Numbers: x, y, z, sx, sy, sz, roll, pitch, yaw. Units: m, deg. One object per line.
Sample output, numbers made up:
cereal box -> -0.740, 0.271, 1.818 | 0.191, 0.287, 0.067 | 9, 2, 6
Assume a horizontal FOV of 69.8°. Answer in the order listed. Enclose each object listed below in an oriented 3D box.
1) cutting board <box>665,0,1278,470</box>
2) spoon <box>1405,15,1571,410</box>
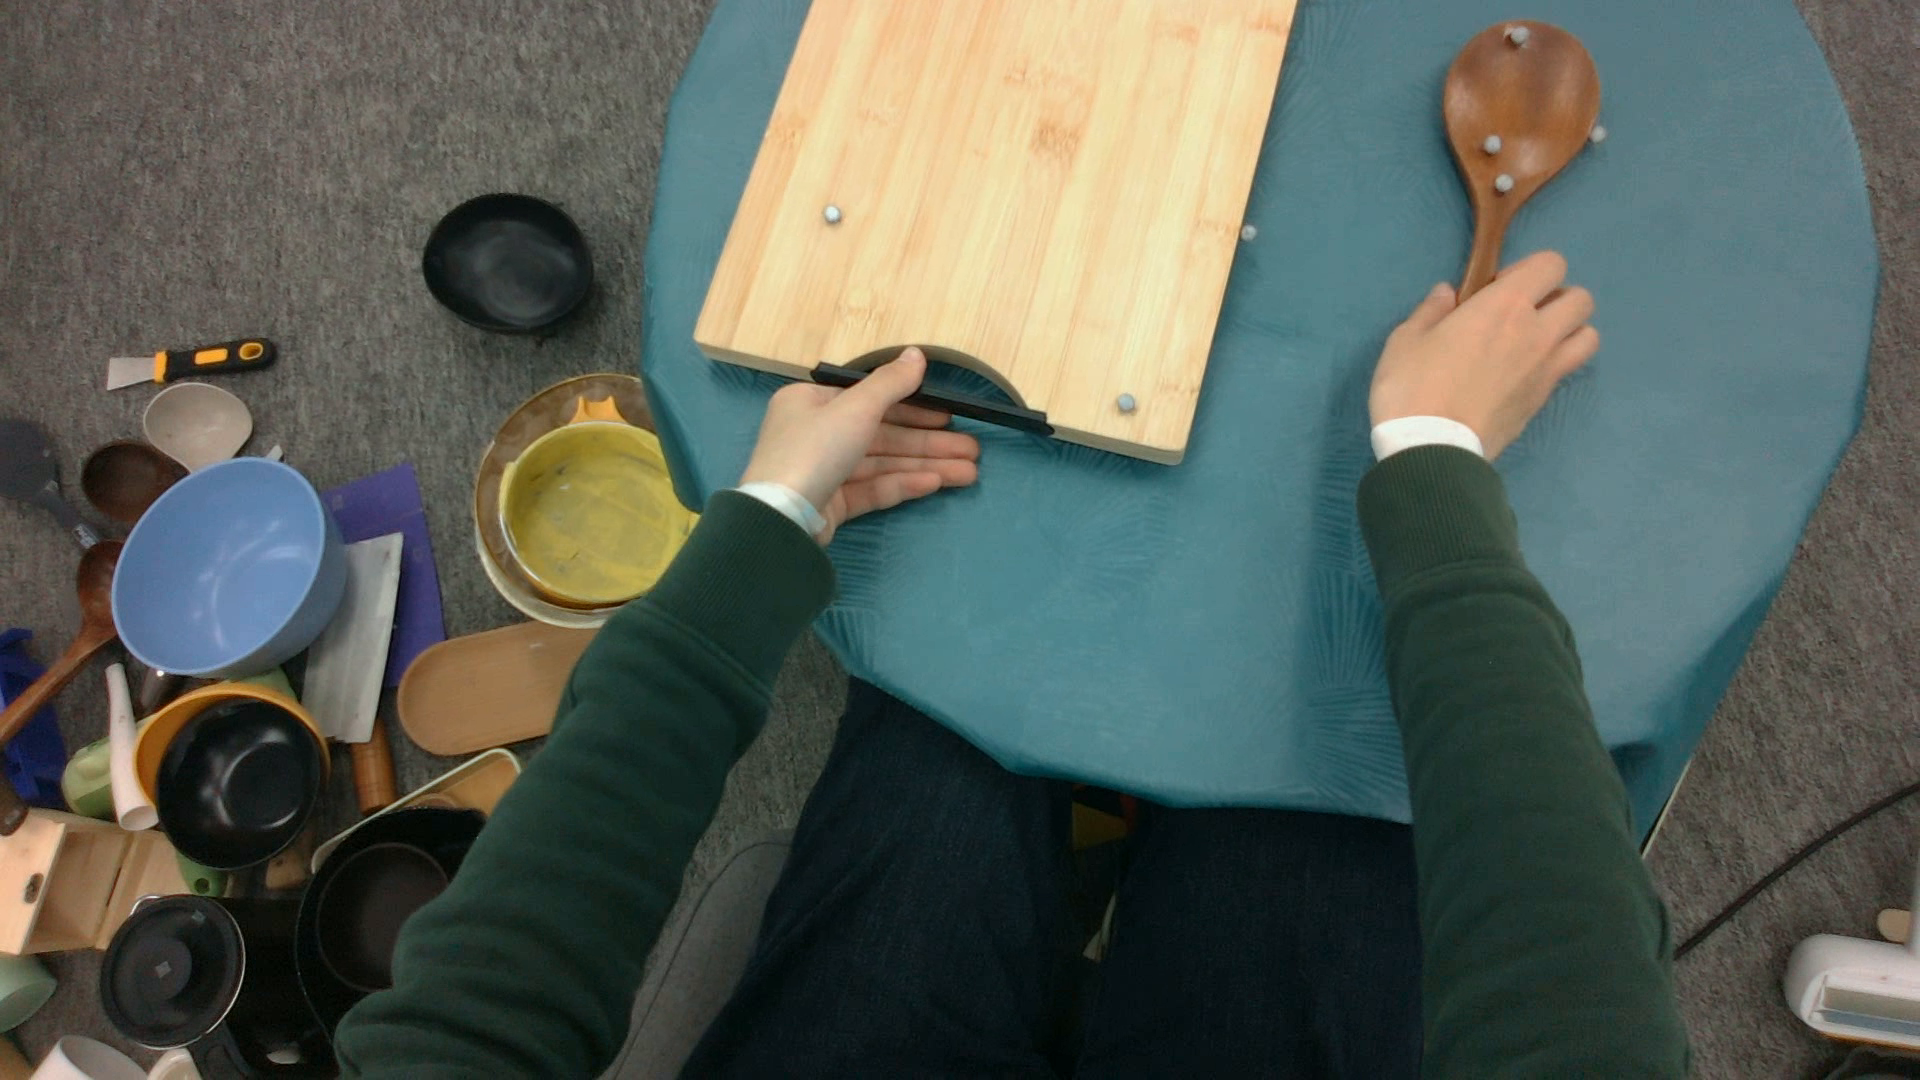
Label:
cutting board -> 0.022, -0.220, 0.695 | 0.250, 0.023, 0.349 | 12, 73, 8
spoon -> 0.247, -0.162, 0.669 | 0.075, 0.017, 0.216 | 15, 74, 7
